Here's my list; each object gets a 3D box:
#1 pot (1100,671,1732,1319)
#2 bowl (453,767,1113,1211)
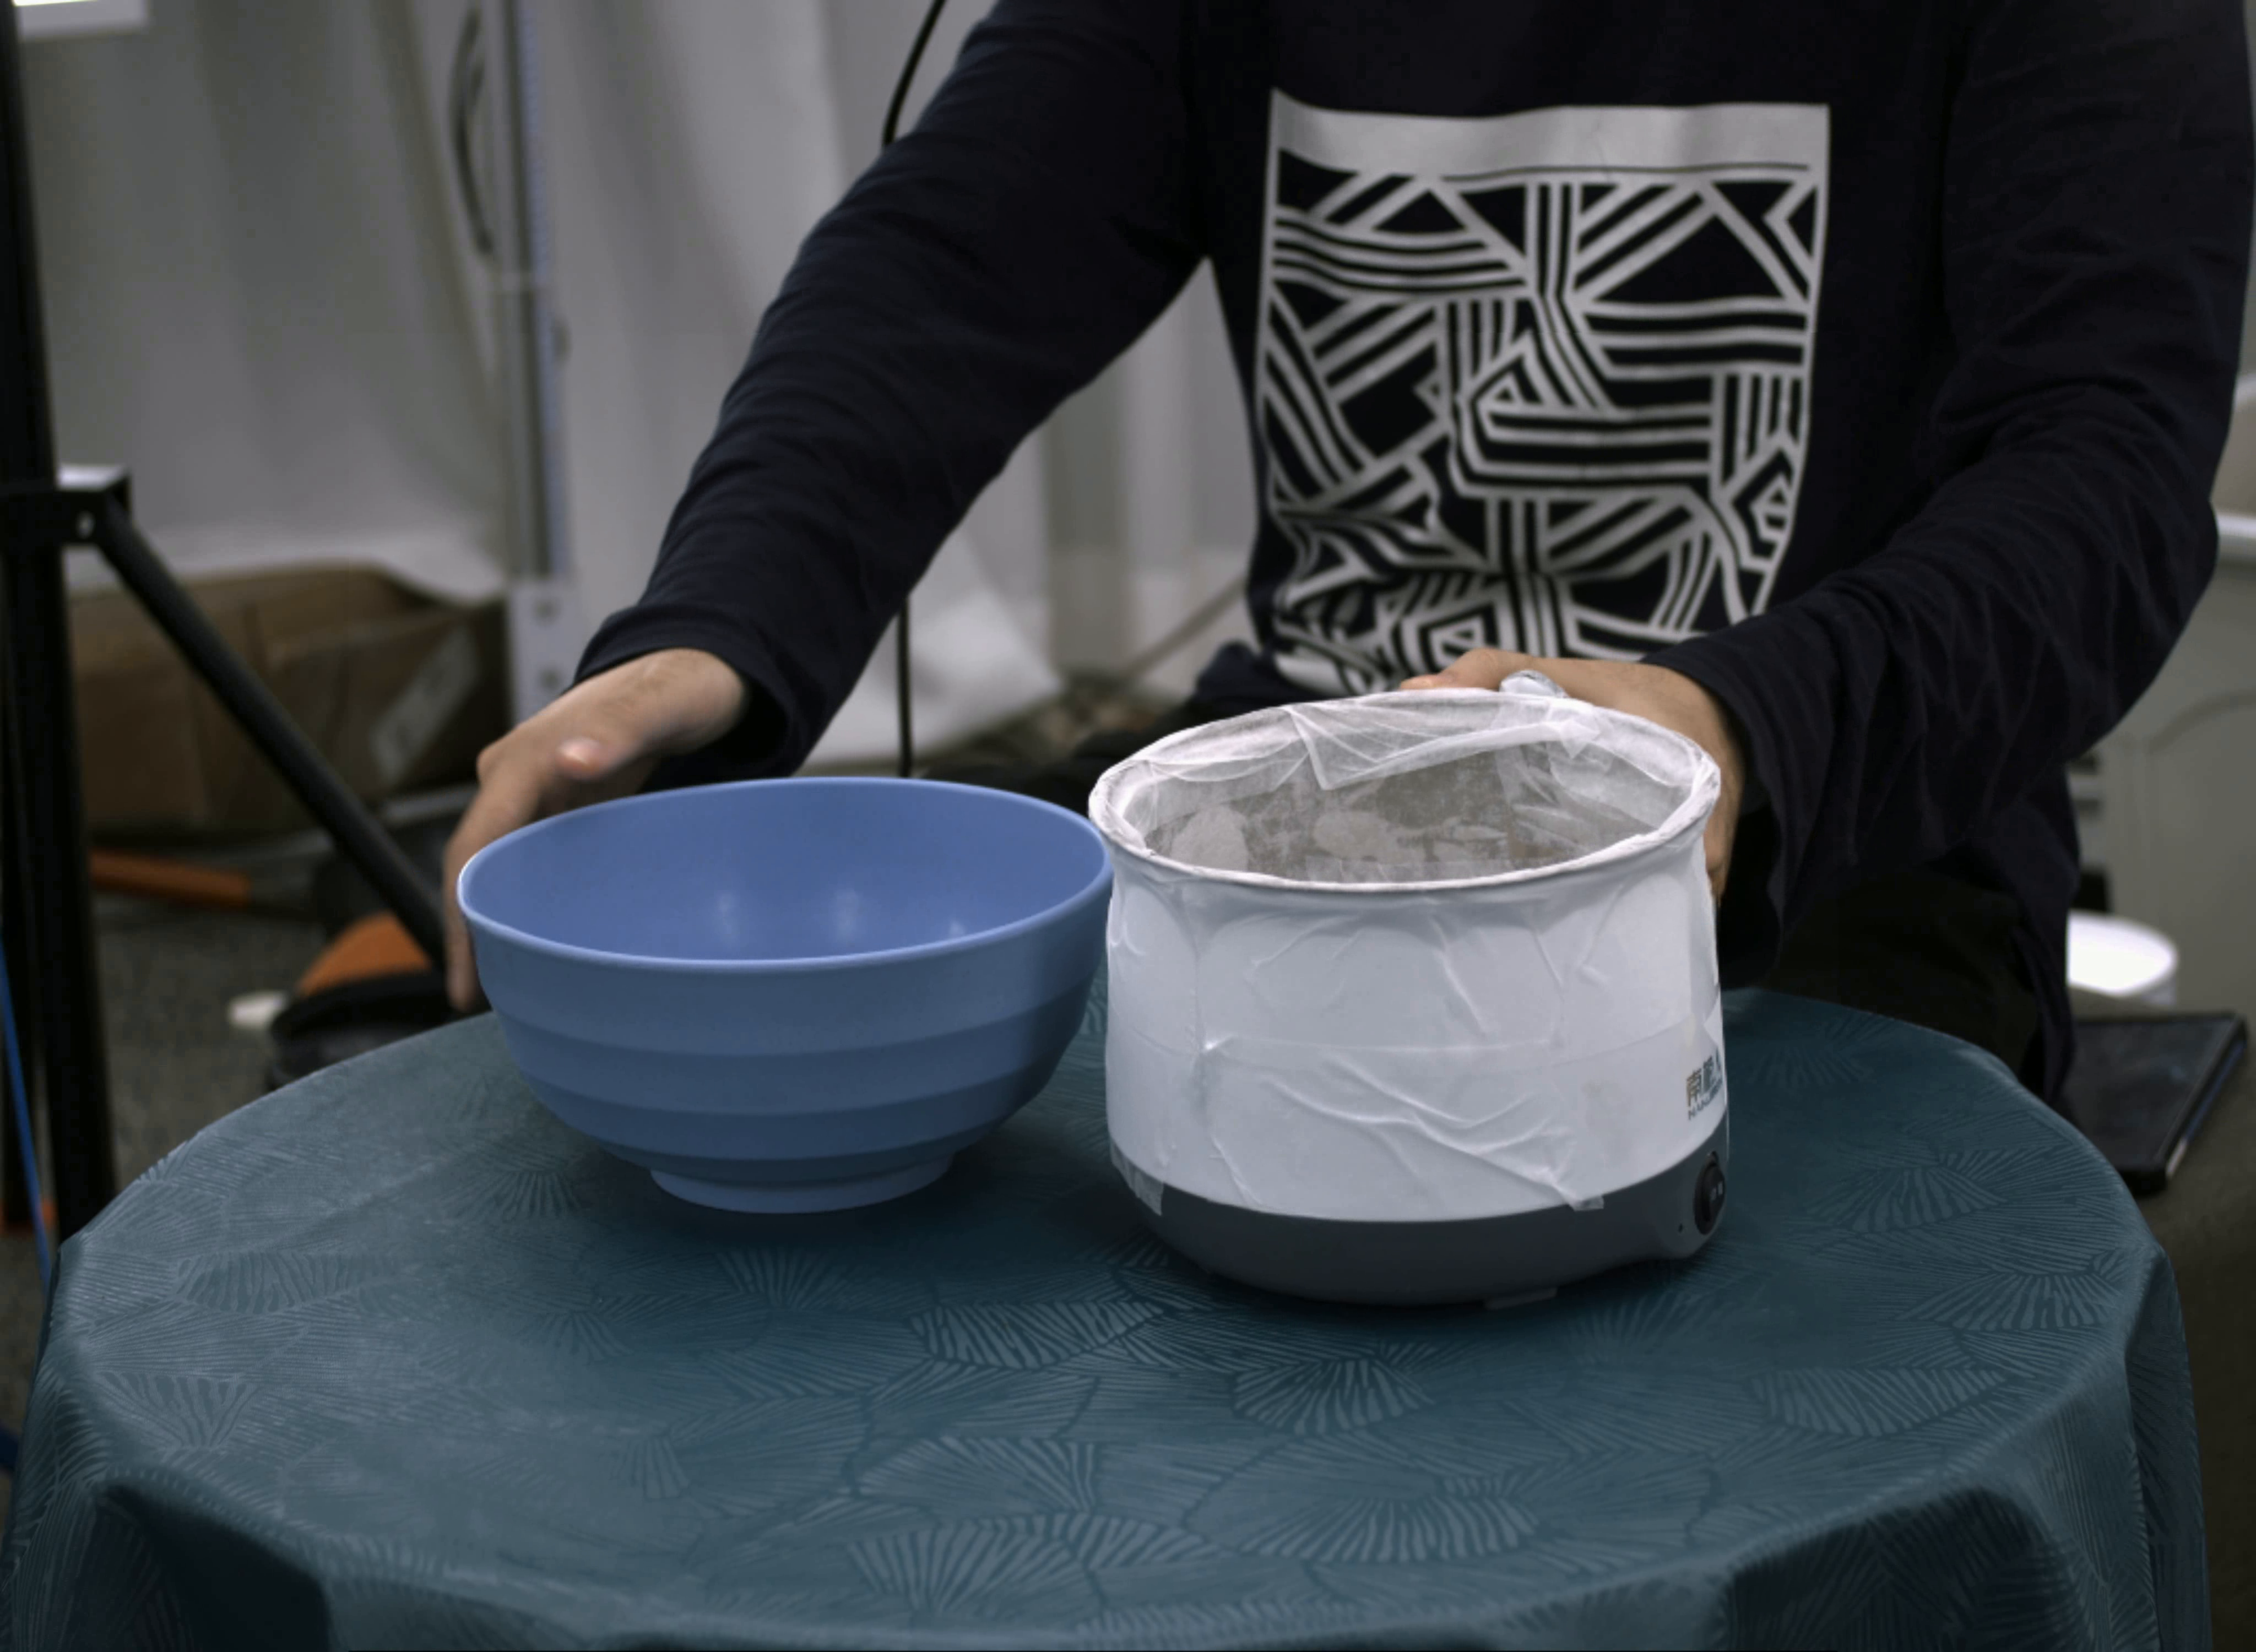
[{"bbox_3d":[0.091,0.041,1.523,0.181,0.136,0.231,6,20,22],"label":"pot"},{"bbox_3d":[-0.099,0.054,1.587,0.195,0.095,0.197,-5,17,0],"label":"bowl"}]
